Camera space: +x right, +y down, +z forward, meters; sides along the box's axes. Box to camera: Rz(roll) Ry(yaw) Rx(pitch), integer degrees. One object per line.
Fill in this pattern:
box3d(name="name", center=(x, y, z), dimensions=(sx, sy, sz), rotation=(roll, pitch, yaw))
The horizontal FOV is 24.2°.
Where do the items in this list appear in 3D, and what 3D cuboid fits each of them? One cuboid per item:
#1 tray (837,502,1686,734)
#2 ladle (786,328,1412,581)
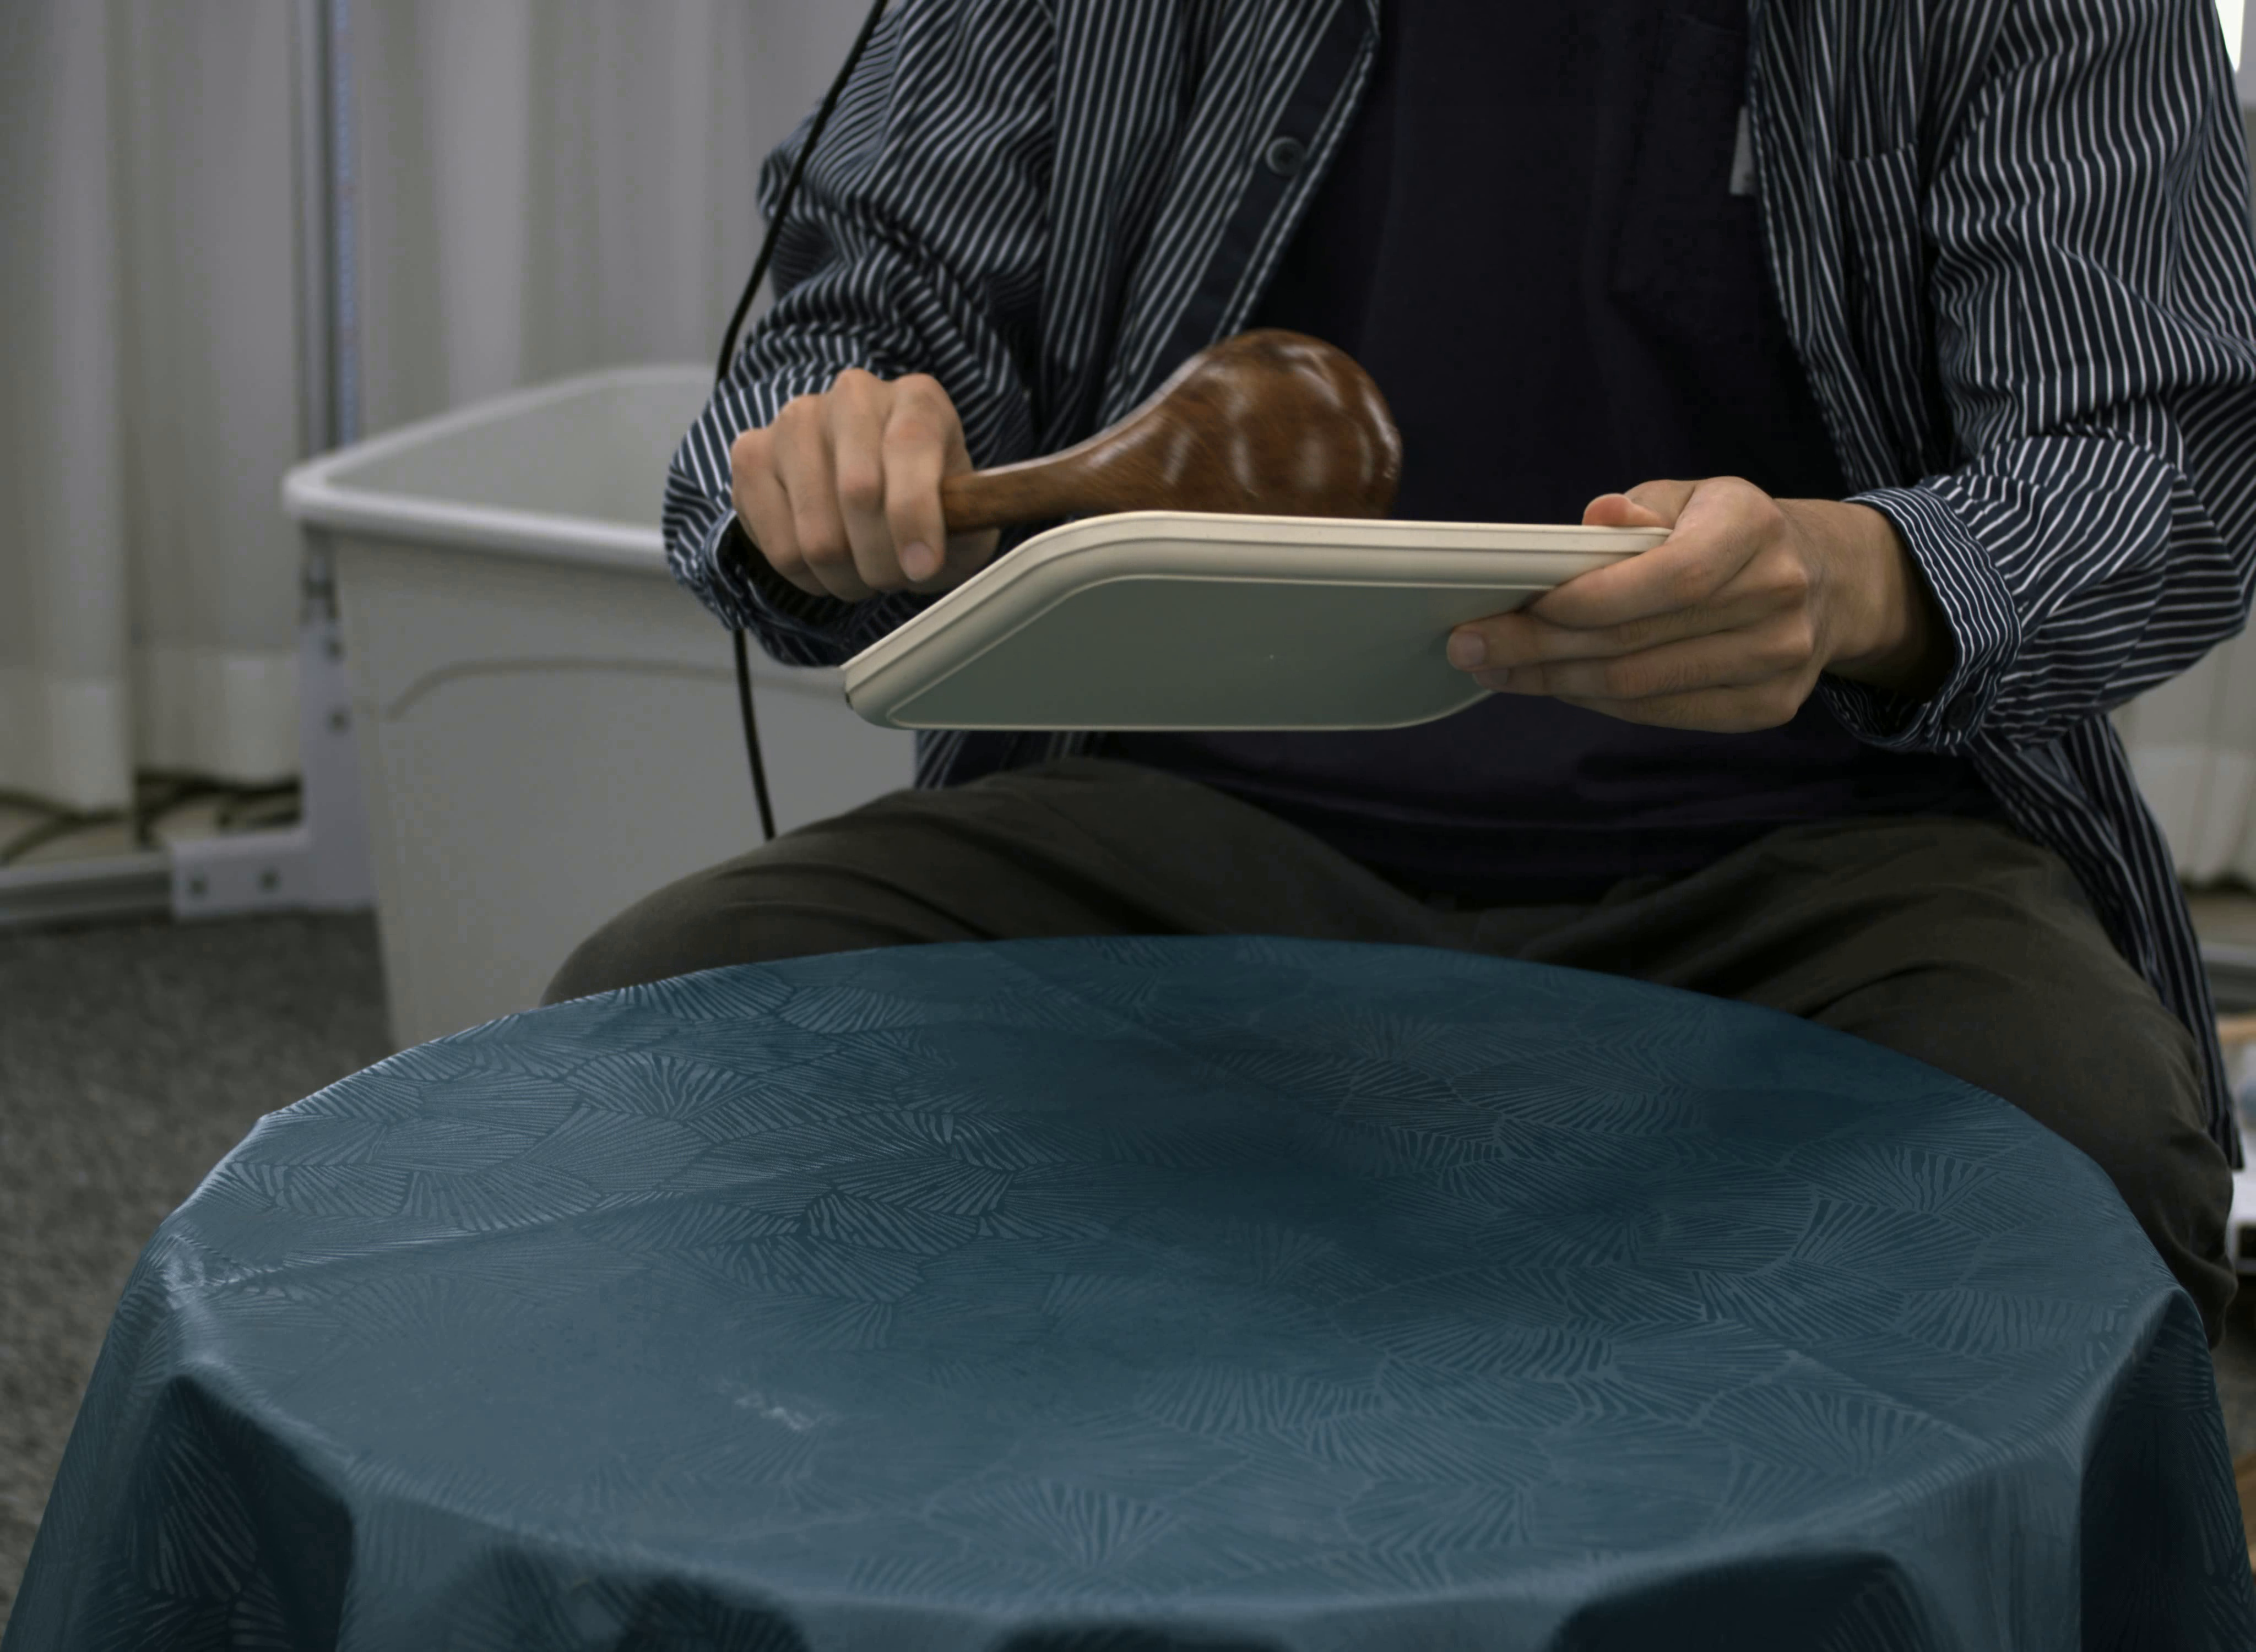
box3d(name="tray", center=(0.043, -0.060, 1.628), dimensions=(0.241, 0.017, 0.170), rotation=(0, -18, -33))
box3d(name="ladle", center=(-0.011, -0.108, 1.731), dimensions=(0.077, 0.082, 0.271), rotation=(5, -7, -34))
